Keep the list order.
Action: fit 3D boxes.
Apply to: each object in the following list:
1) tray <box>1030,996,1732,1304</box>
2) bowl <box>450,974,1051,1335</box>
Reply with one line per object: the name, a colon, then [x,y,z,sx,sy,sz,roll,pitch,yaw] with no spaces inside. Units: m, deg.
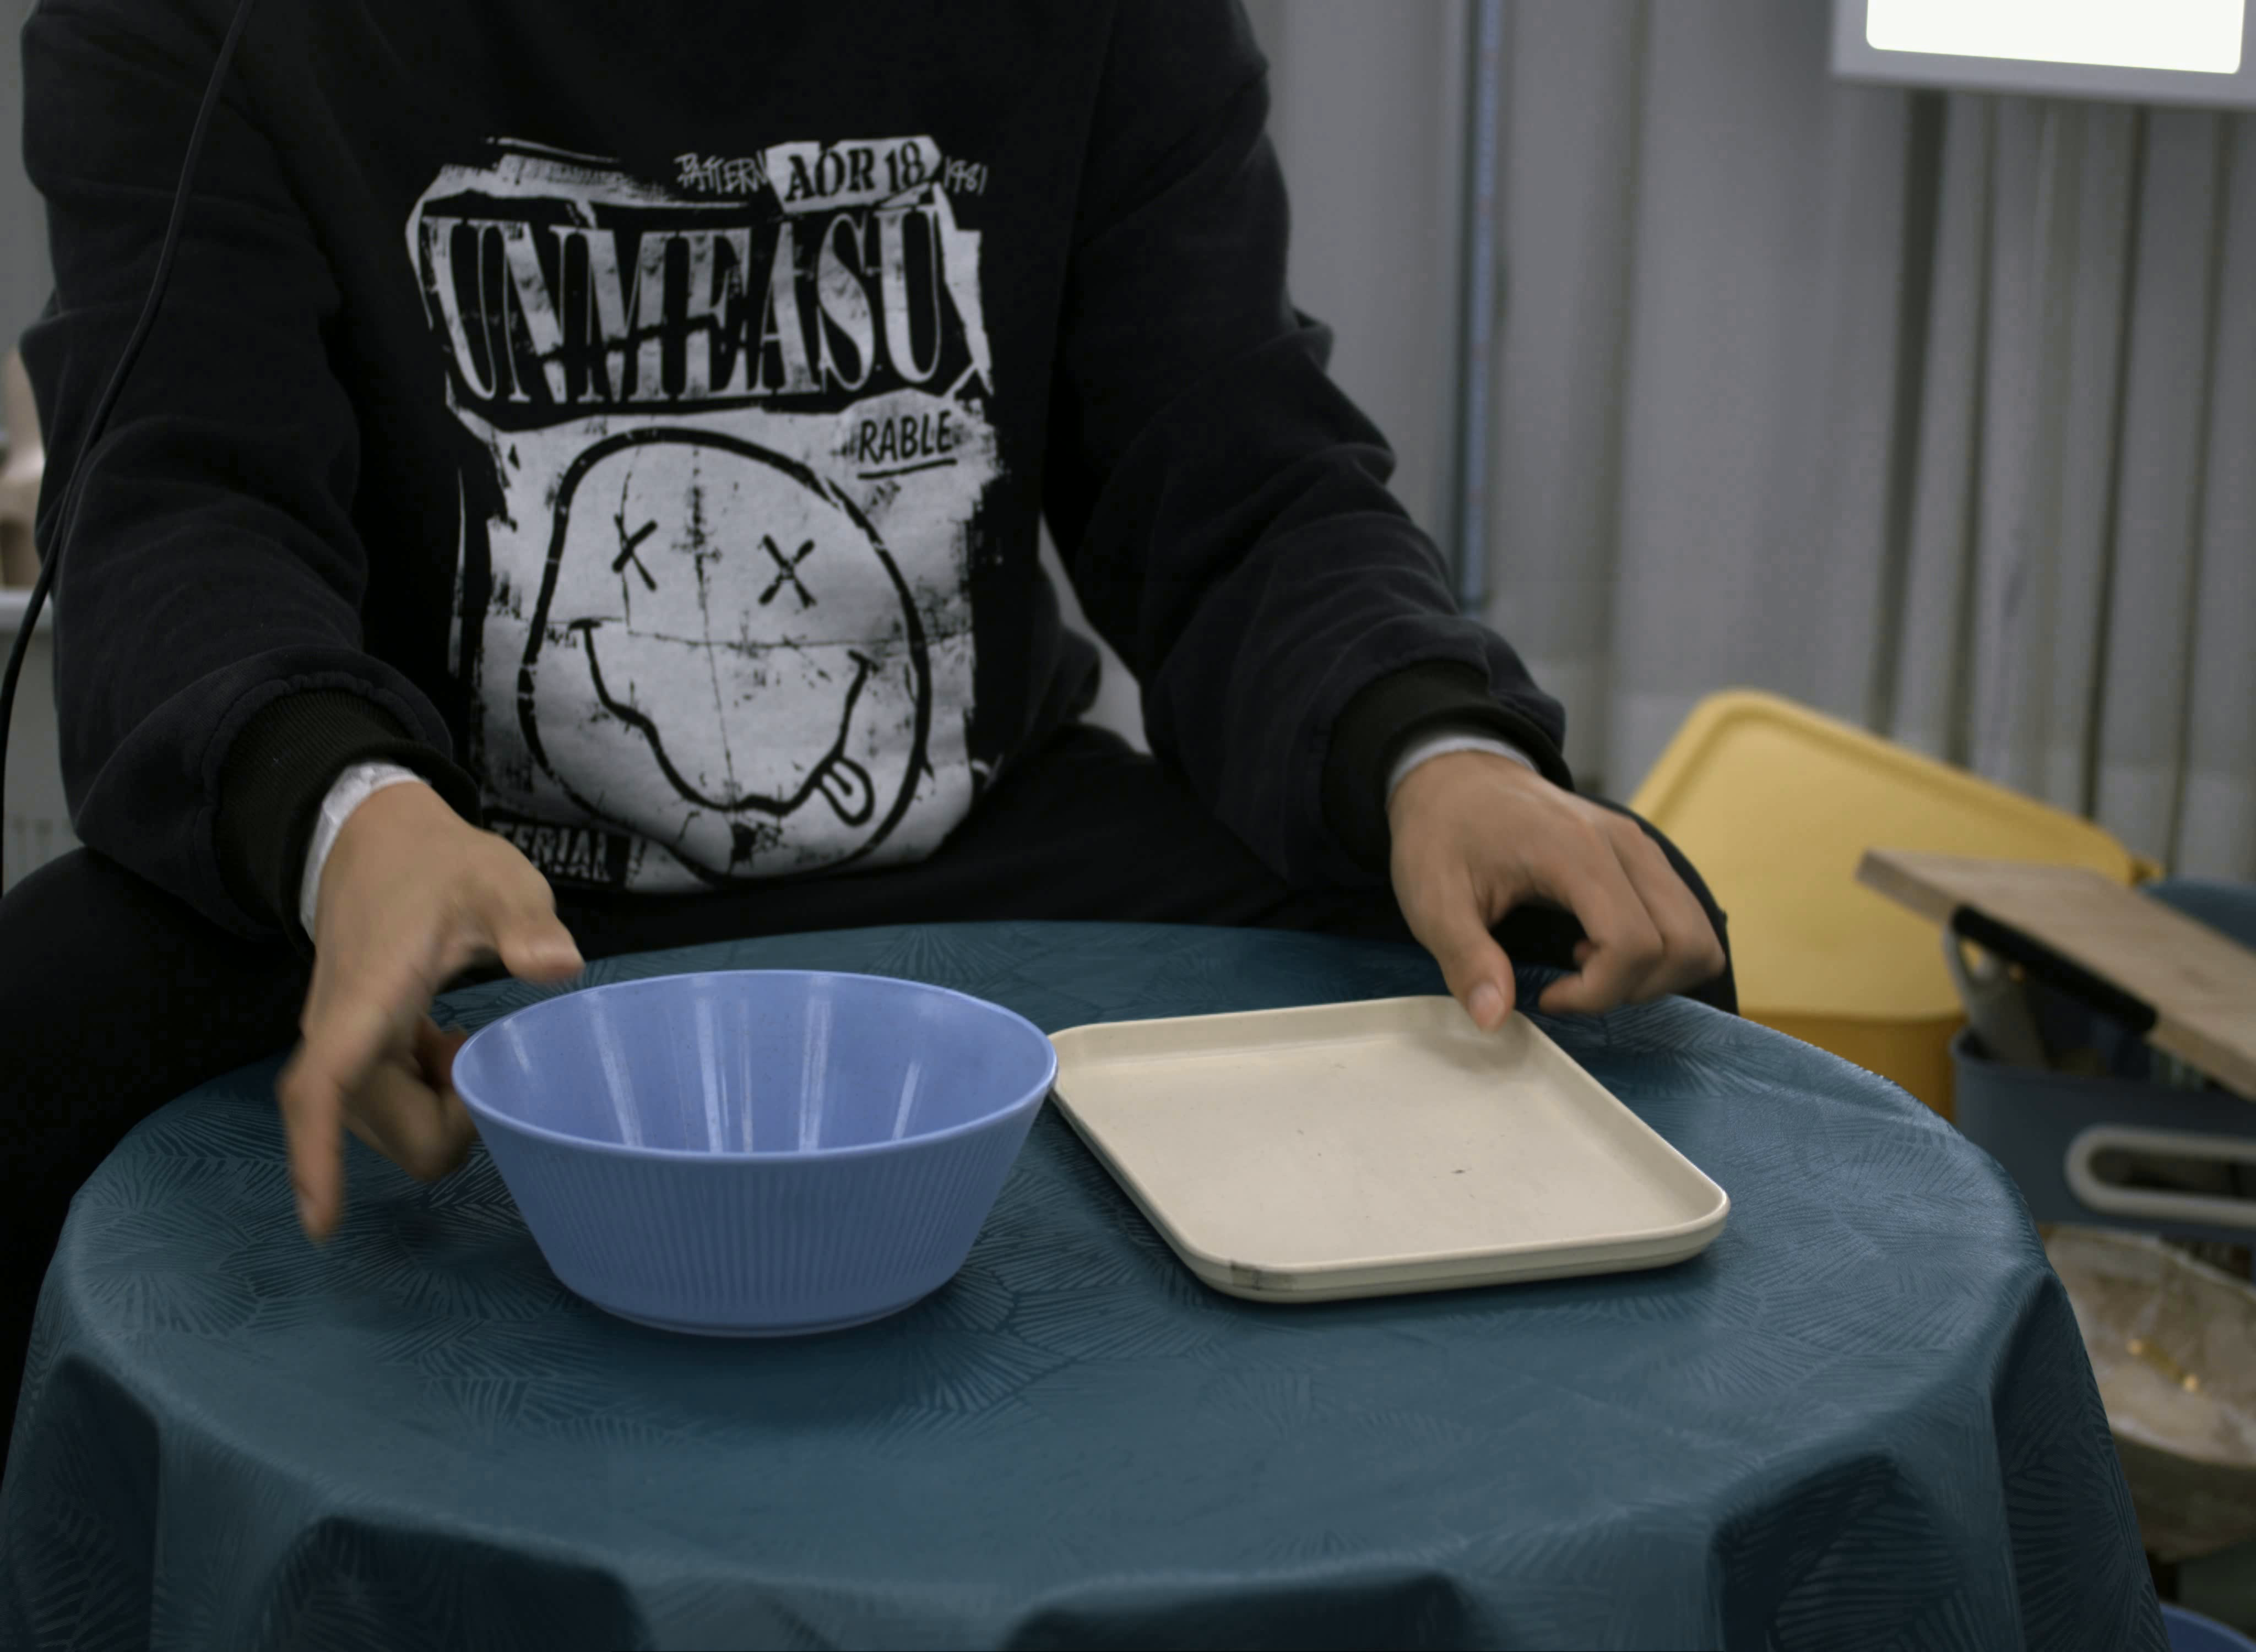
tray: [0.074,0.100,1.643,0.171,0.017,0.237,-3,16,-16]
bowl: [-0.110,0.099,1.541,0.175,0.071,0.175,2,16,0]
